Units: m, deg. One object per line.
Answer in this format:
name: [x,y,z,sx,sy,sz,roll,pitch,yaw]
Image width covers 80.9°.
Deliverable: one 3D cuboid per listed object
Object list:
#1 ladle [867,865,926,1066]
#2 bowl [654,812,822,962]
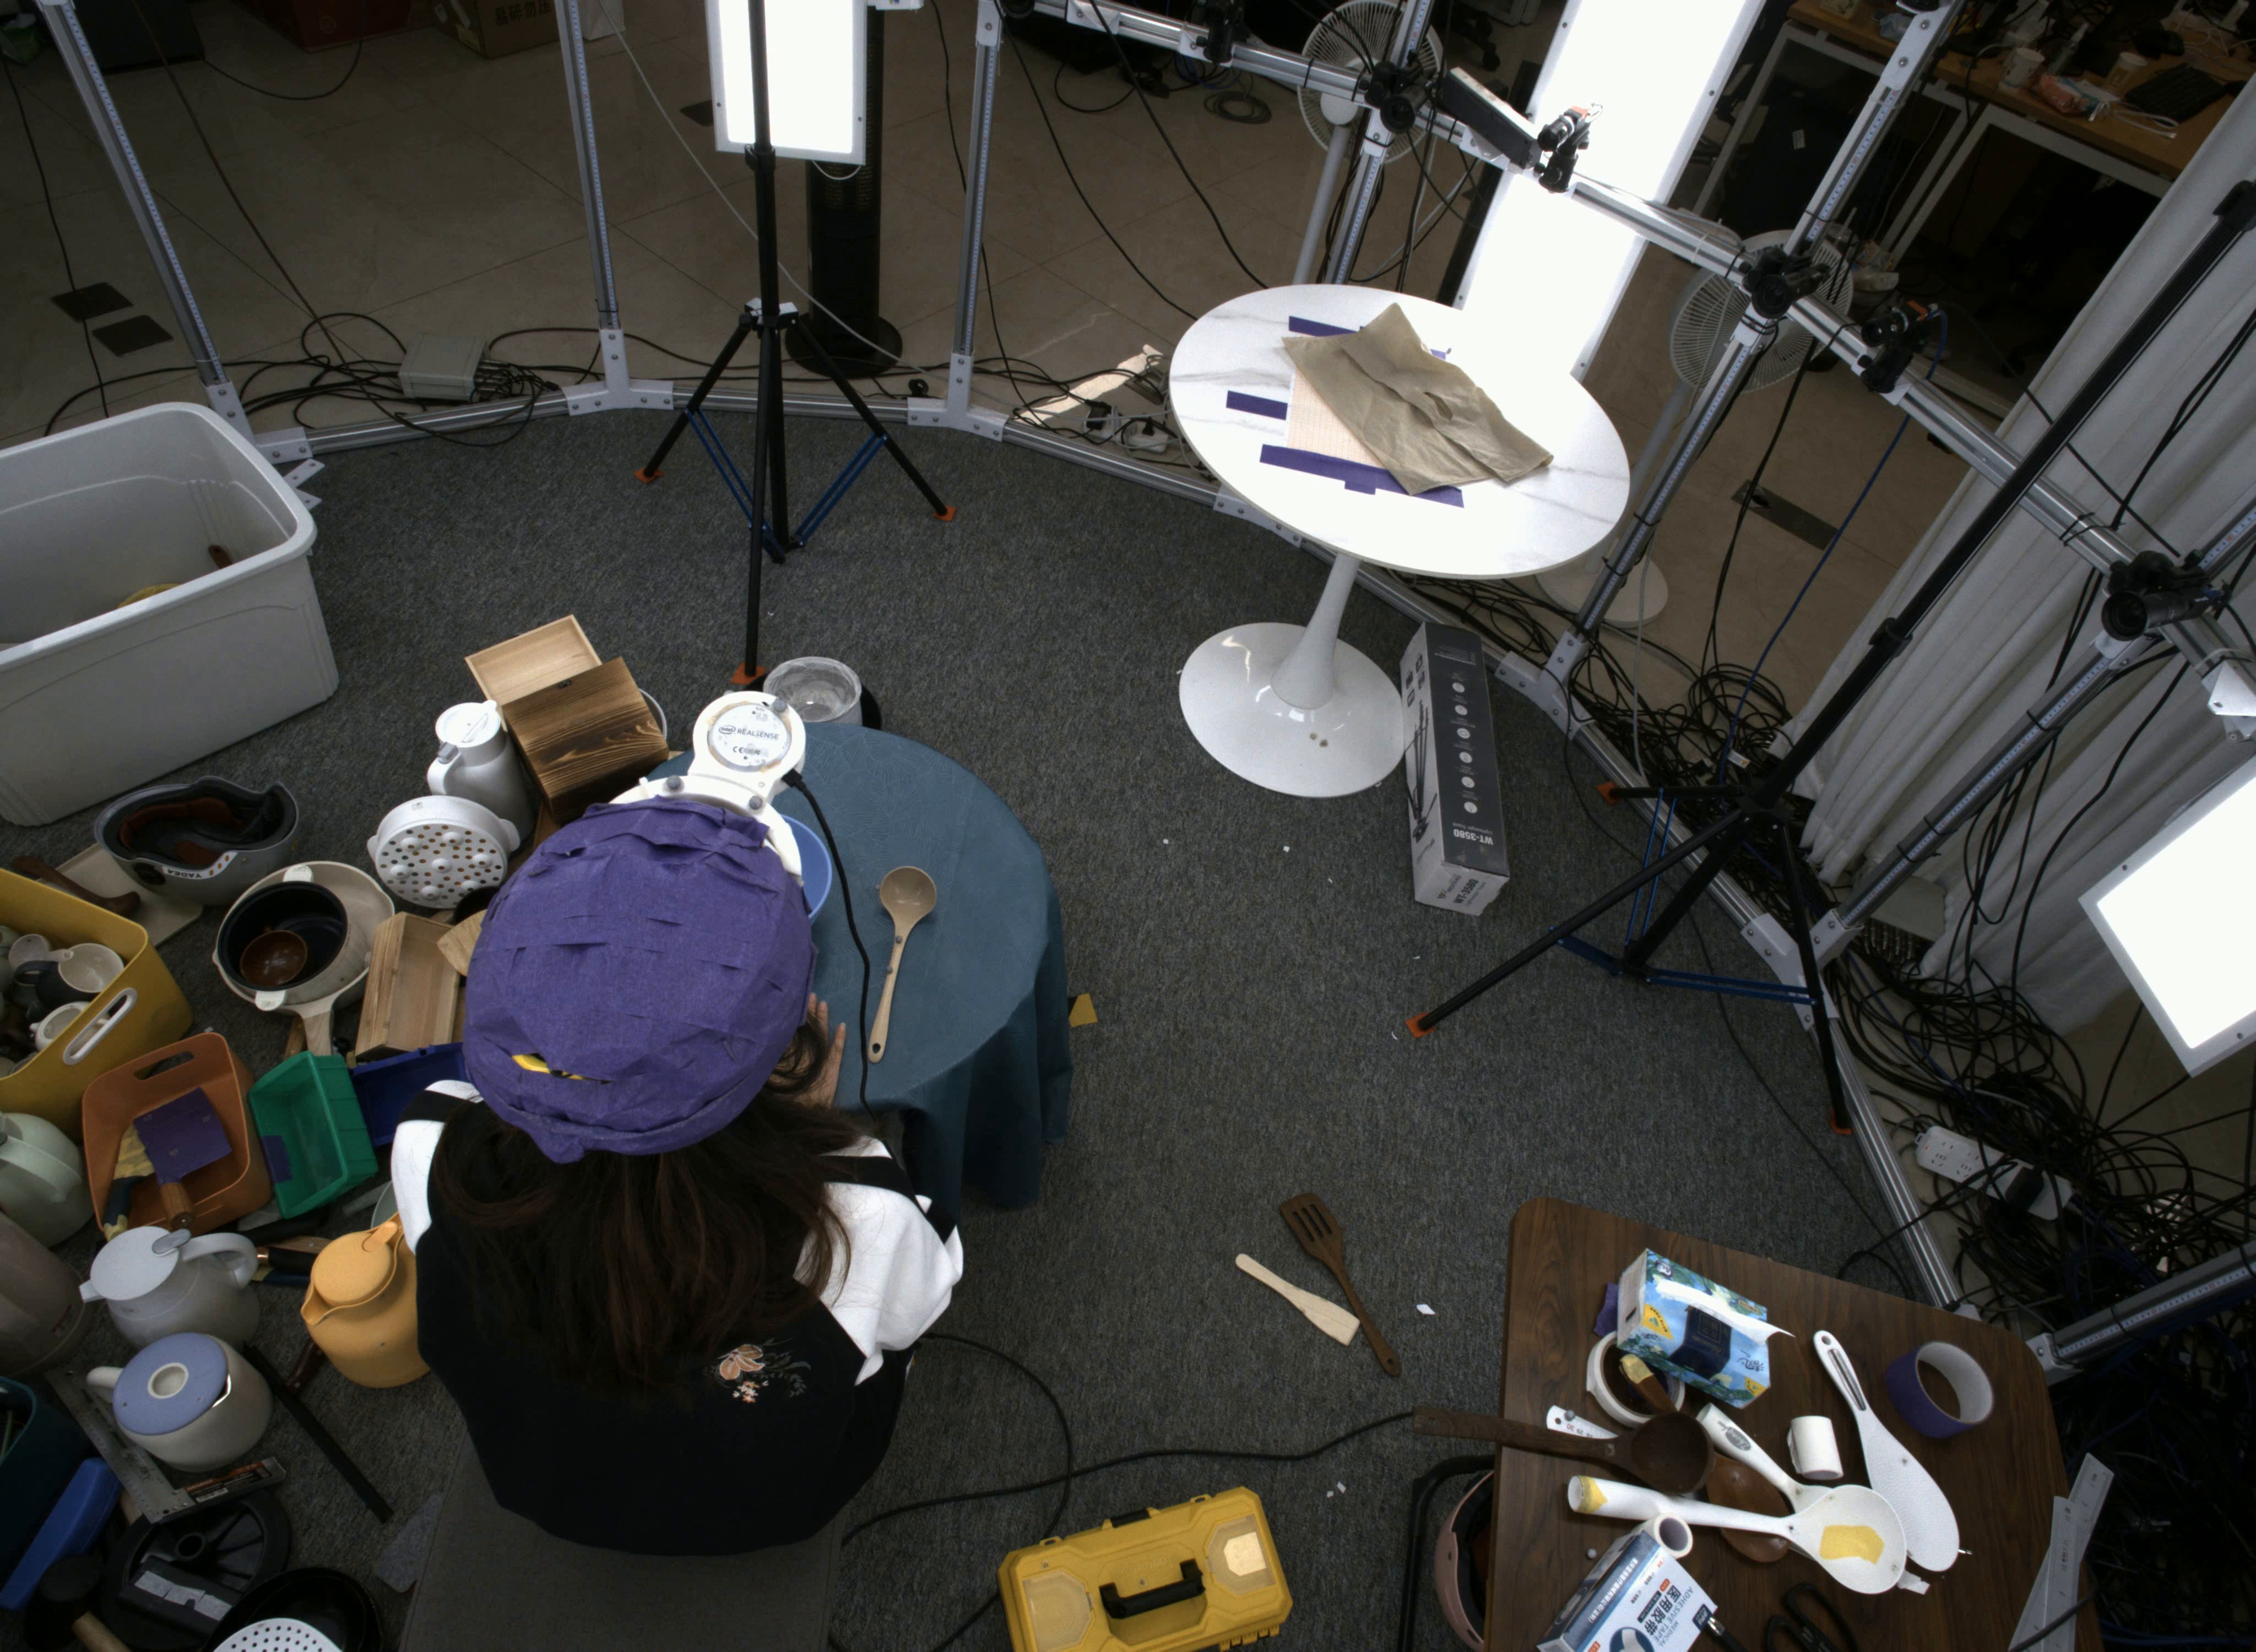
ladle: [-0.294,0.160,1.586,0.072,0.074,0.250,7,52,-6]
bowl: [-0.475,0.088,1.583,0.196,0.097,0.193,9,52,-10]
